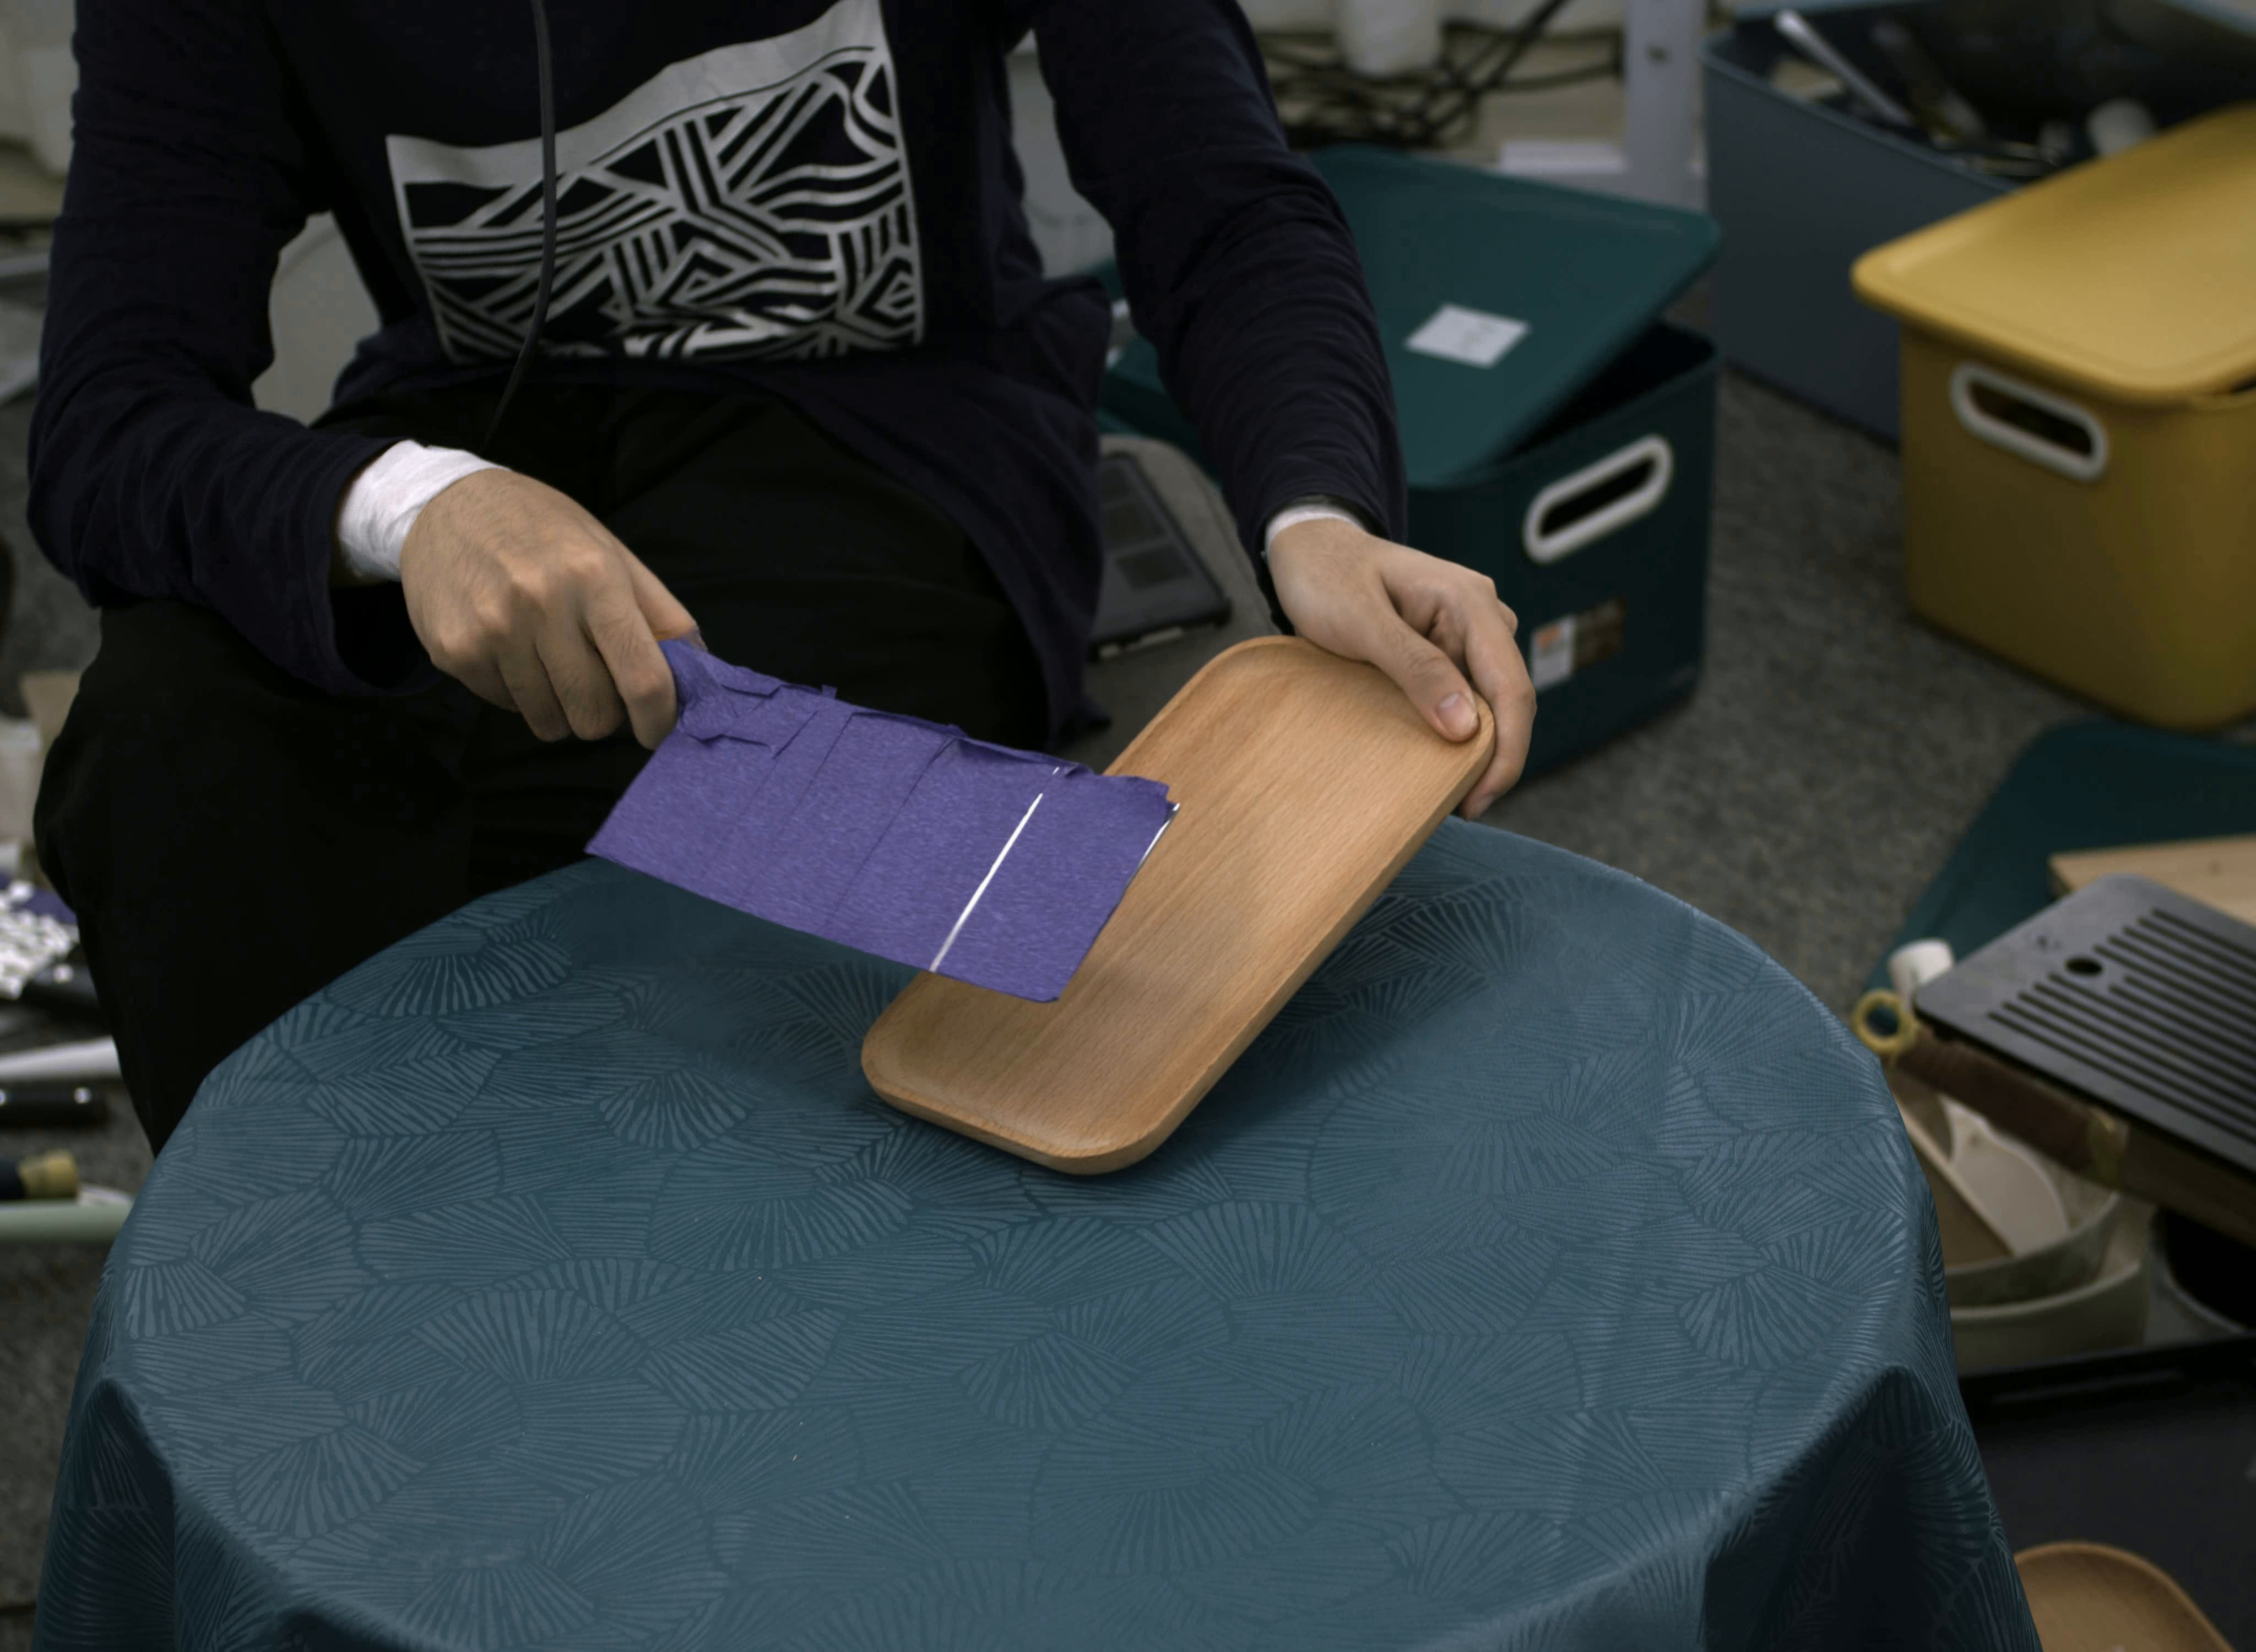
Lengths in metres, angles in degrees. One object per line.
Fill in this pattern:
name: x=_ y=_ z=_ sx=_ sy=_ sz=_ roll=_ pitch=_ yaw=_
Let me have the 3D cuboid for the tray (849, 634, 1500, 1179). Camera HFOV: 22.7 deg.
tray: x=0.018 y=0.026 z=1.954 sx=0.130 sy=0.022 sz=0.254 roll=18 pitch=52 yaw=38

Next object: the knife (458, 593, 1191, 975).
knife: x=-0.127 y=-0.016 z=1.945 sx=0.314 sy=0.032 sz=0.105 roll=15 pitch=55 yaw=35
